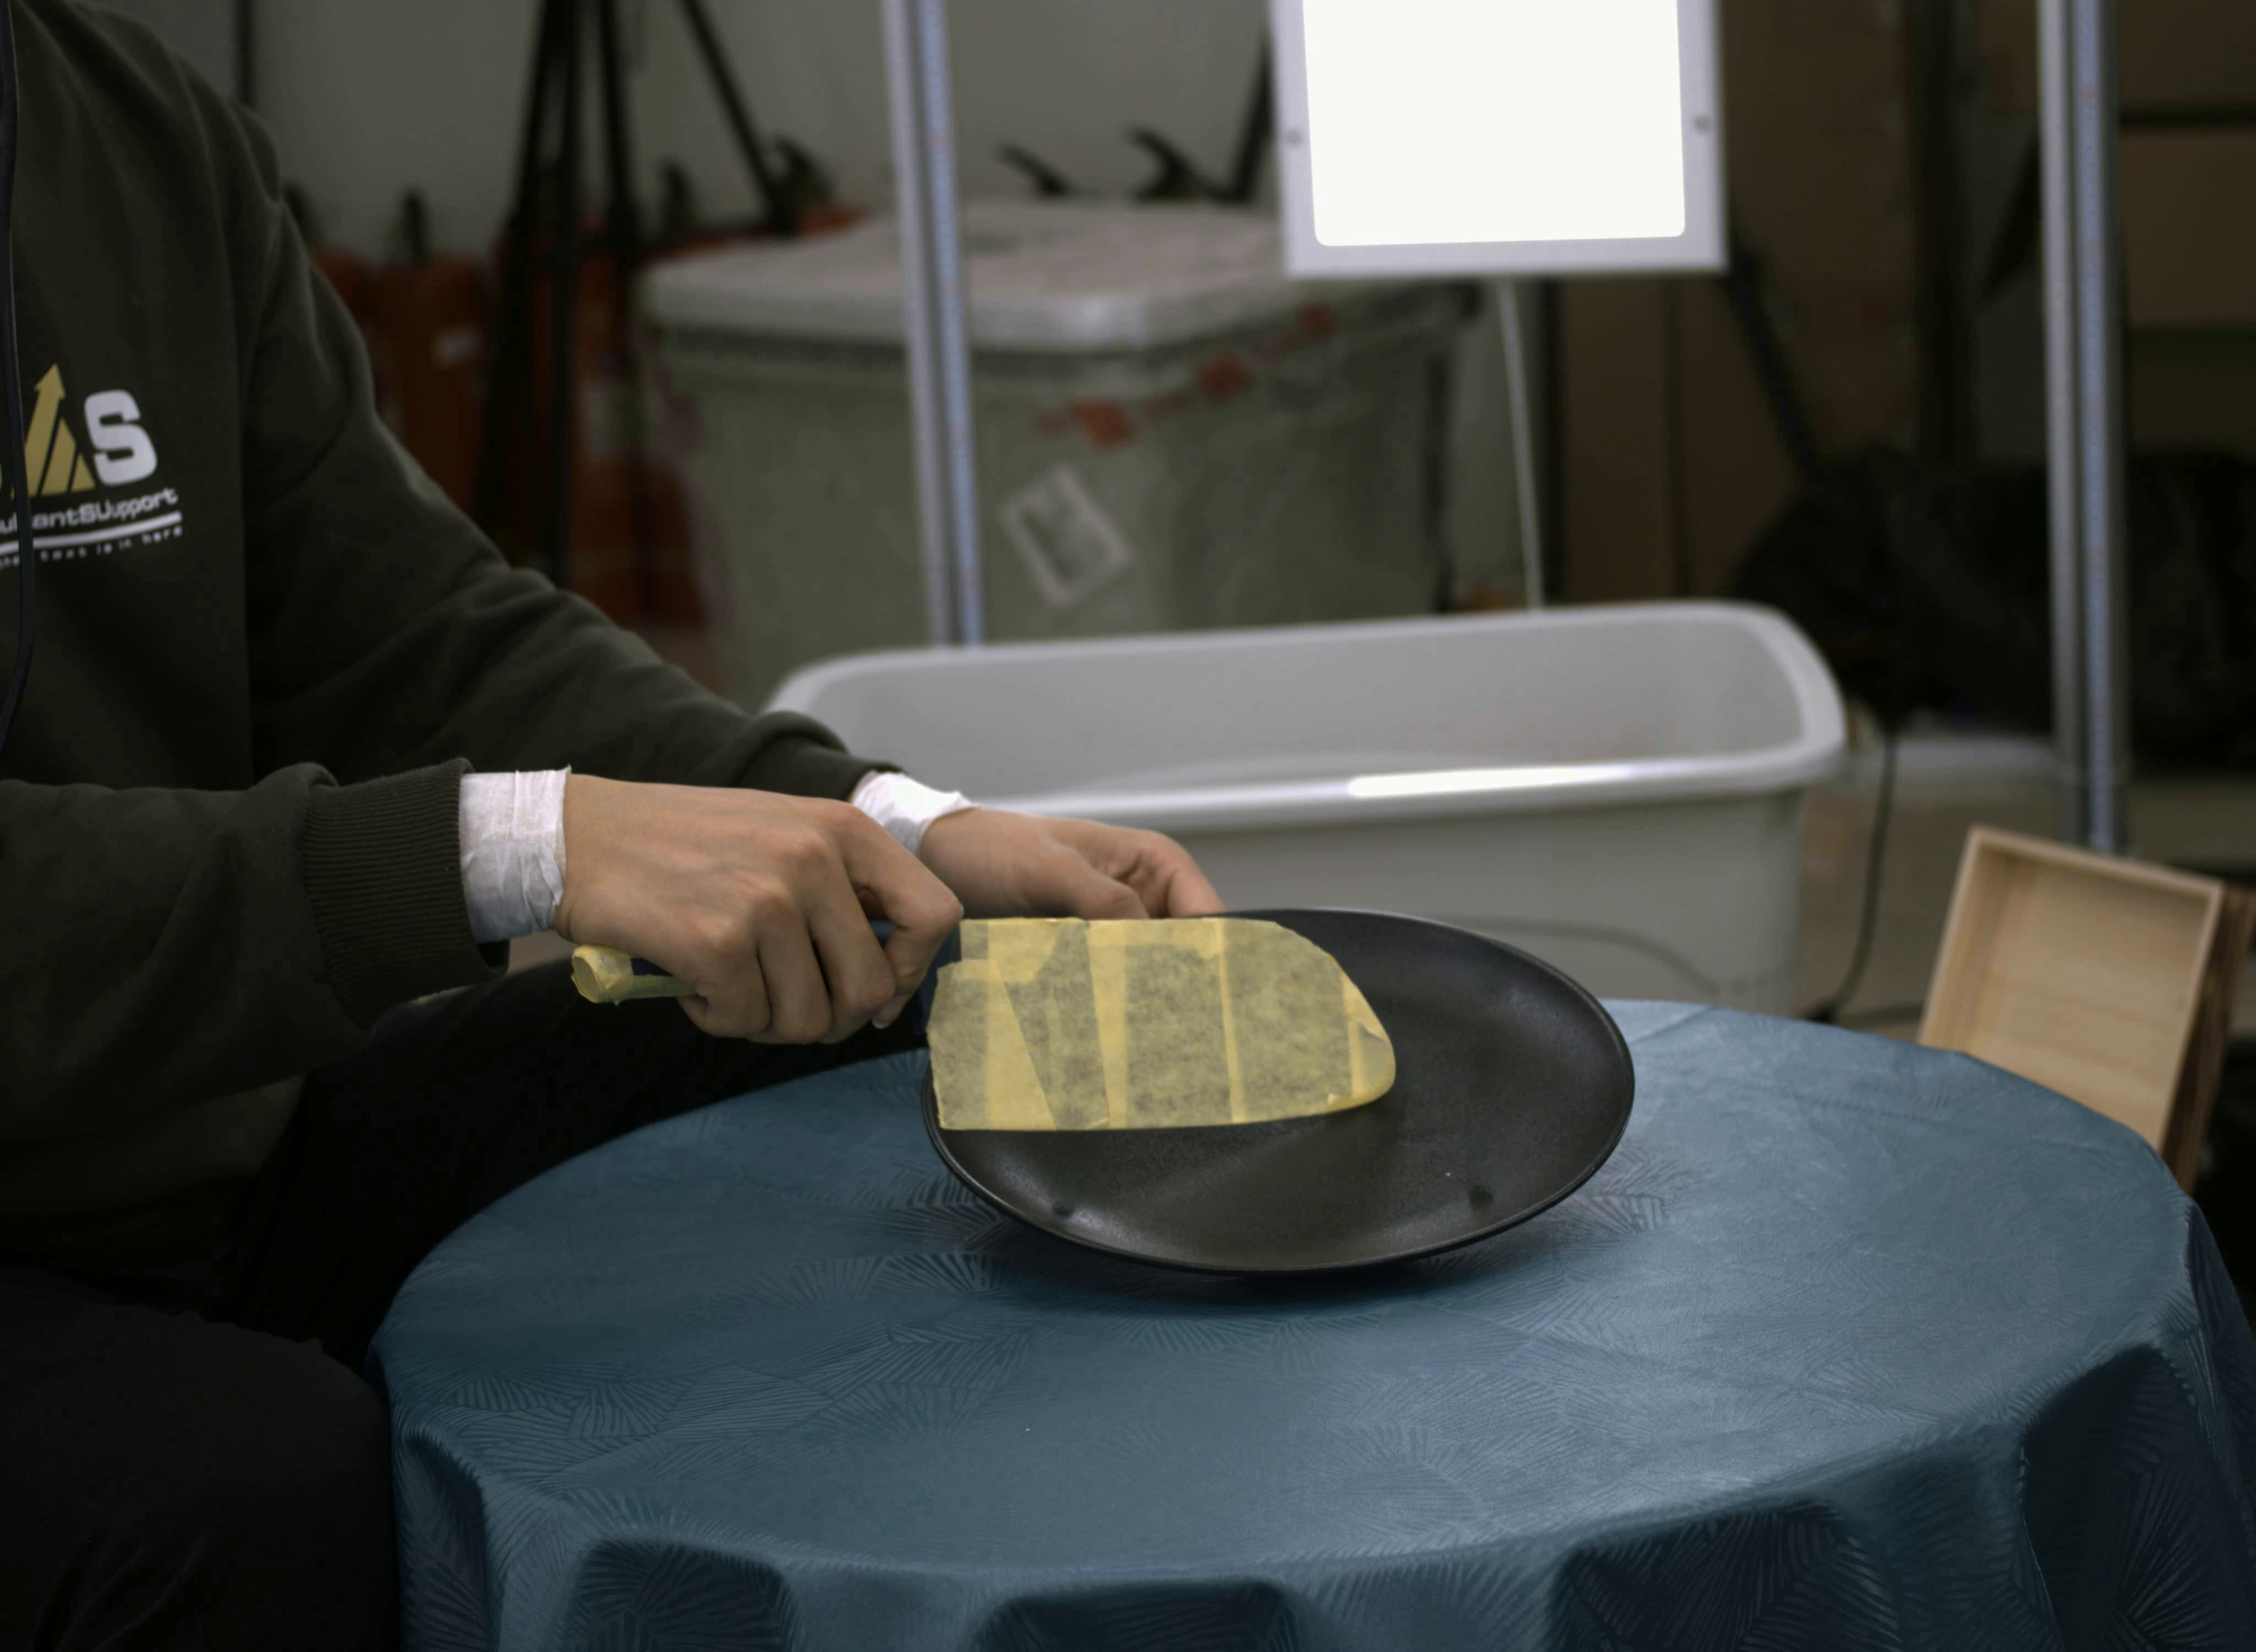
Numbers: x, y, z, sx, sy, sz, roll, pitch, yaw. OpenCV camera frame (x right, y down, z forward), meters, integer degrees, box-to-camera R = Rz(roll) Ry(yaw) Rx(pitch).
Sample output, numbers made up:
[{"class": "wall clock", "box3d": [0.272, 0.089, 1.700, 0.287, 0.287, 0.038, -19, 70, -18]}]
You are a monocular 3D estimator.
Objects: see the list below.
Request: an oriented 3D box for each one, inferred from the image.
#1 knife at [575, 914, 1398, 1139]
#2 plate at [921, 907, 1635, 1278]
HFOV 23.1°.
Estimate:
[{"class": "knife", "box3d": [-0.043, 0.066, 1.844, 0.285, 0.081, 0.027, 2, -18, -16]}, {"class": "plate", "box3d": [0.052, 0.095, 1.874, 0.244, 0.023, 0.244, -4, 28, 1]}]
